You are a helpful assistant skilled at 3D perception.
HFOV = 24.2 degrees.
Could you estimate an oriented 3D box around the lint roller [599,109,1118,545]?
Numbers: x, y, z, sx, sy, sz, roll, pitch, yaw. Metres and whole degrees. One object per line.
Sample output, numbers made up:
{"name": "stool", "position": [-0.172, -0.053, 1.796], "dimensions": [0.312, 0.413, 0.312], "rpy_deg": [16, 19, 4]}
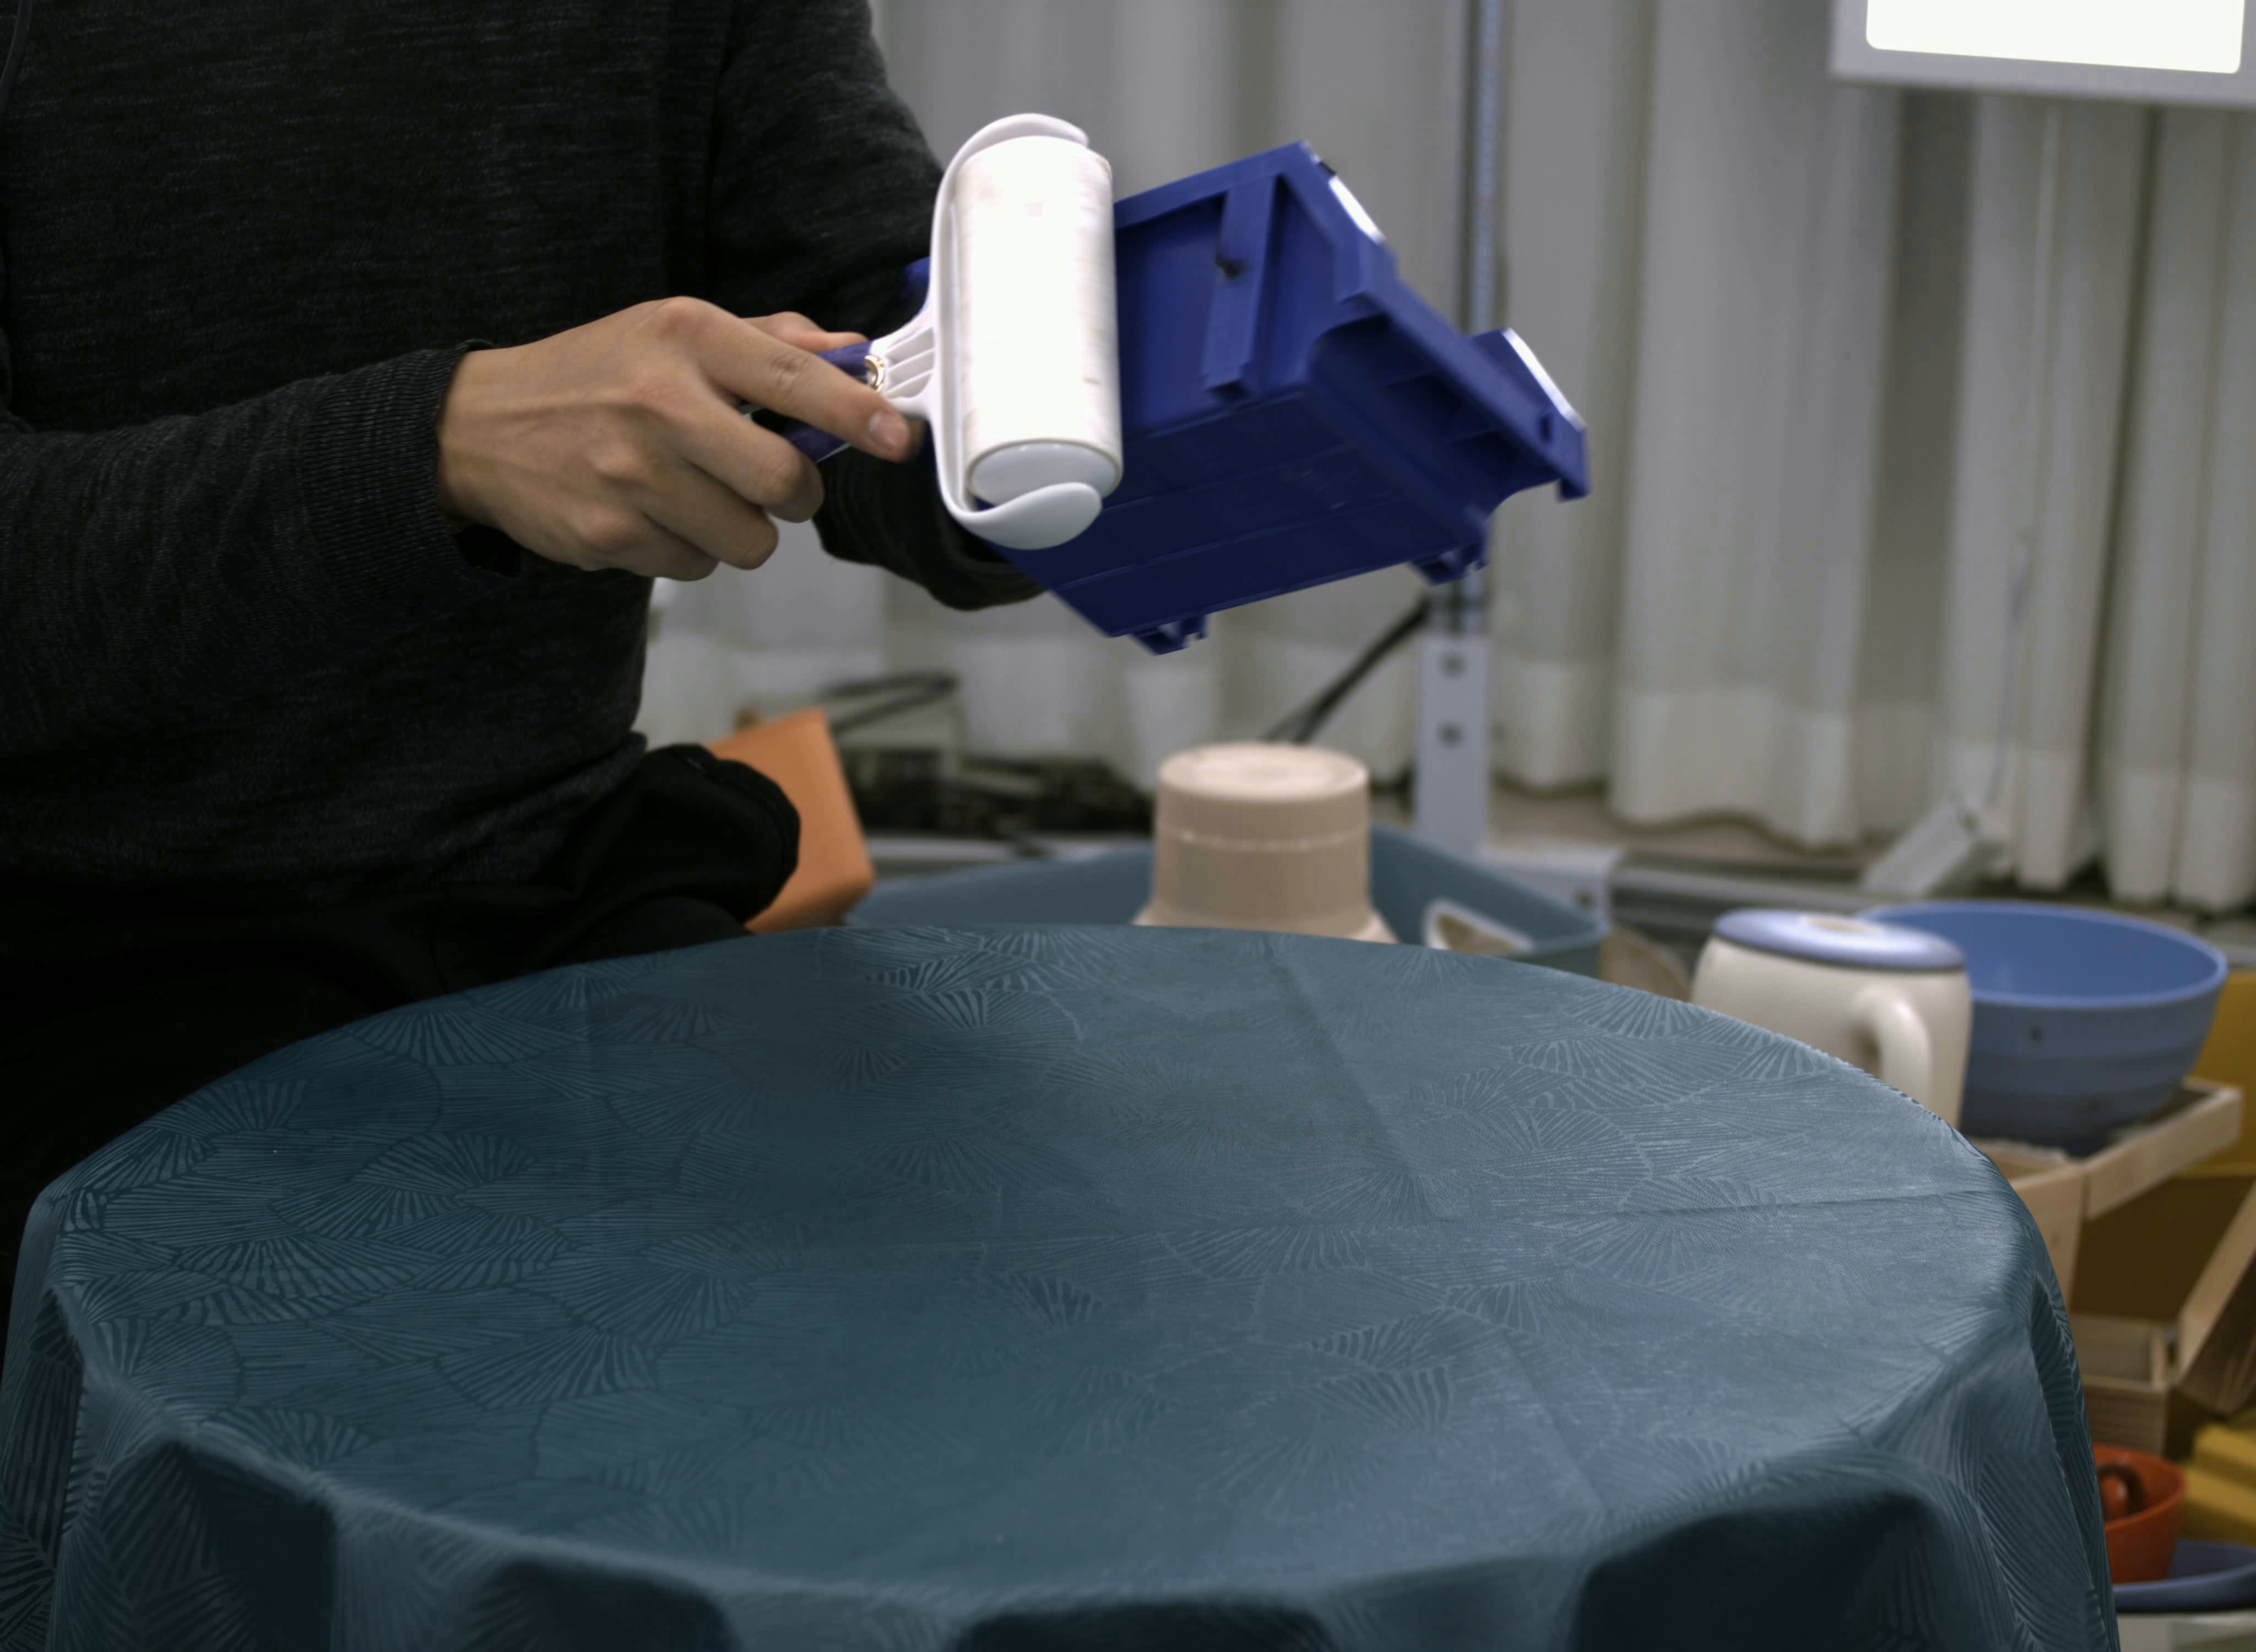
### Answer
{"name": "lint roller", "position": [-0.087, -0.134, 1.550], "dimensions": [0.179, 0.132, 0.051], "rpy_deg": [-11, -23, 22]}

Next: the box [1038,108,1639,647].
{"name": "box", "position": [0.047, -0.131, 1.566], "dimensions": [0.178, 0.081, 0.126], "rpy_deg": [-18, -37, 33]}
